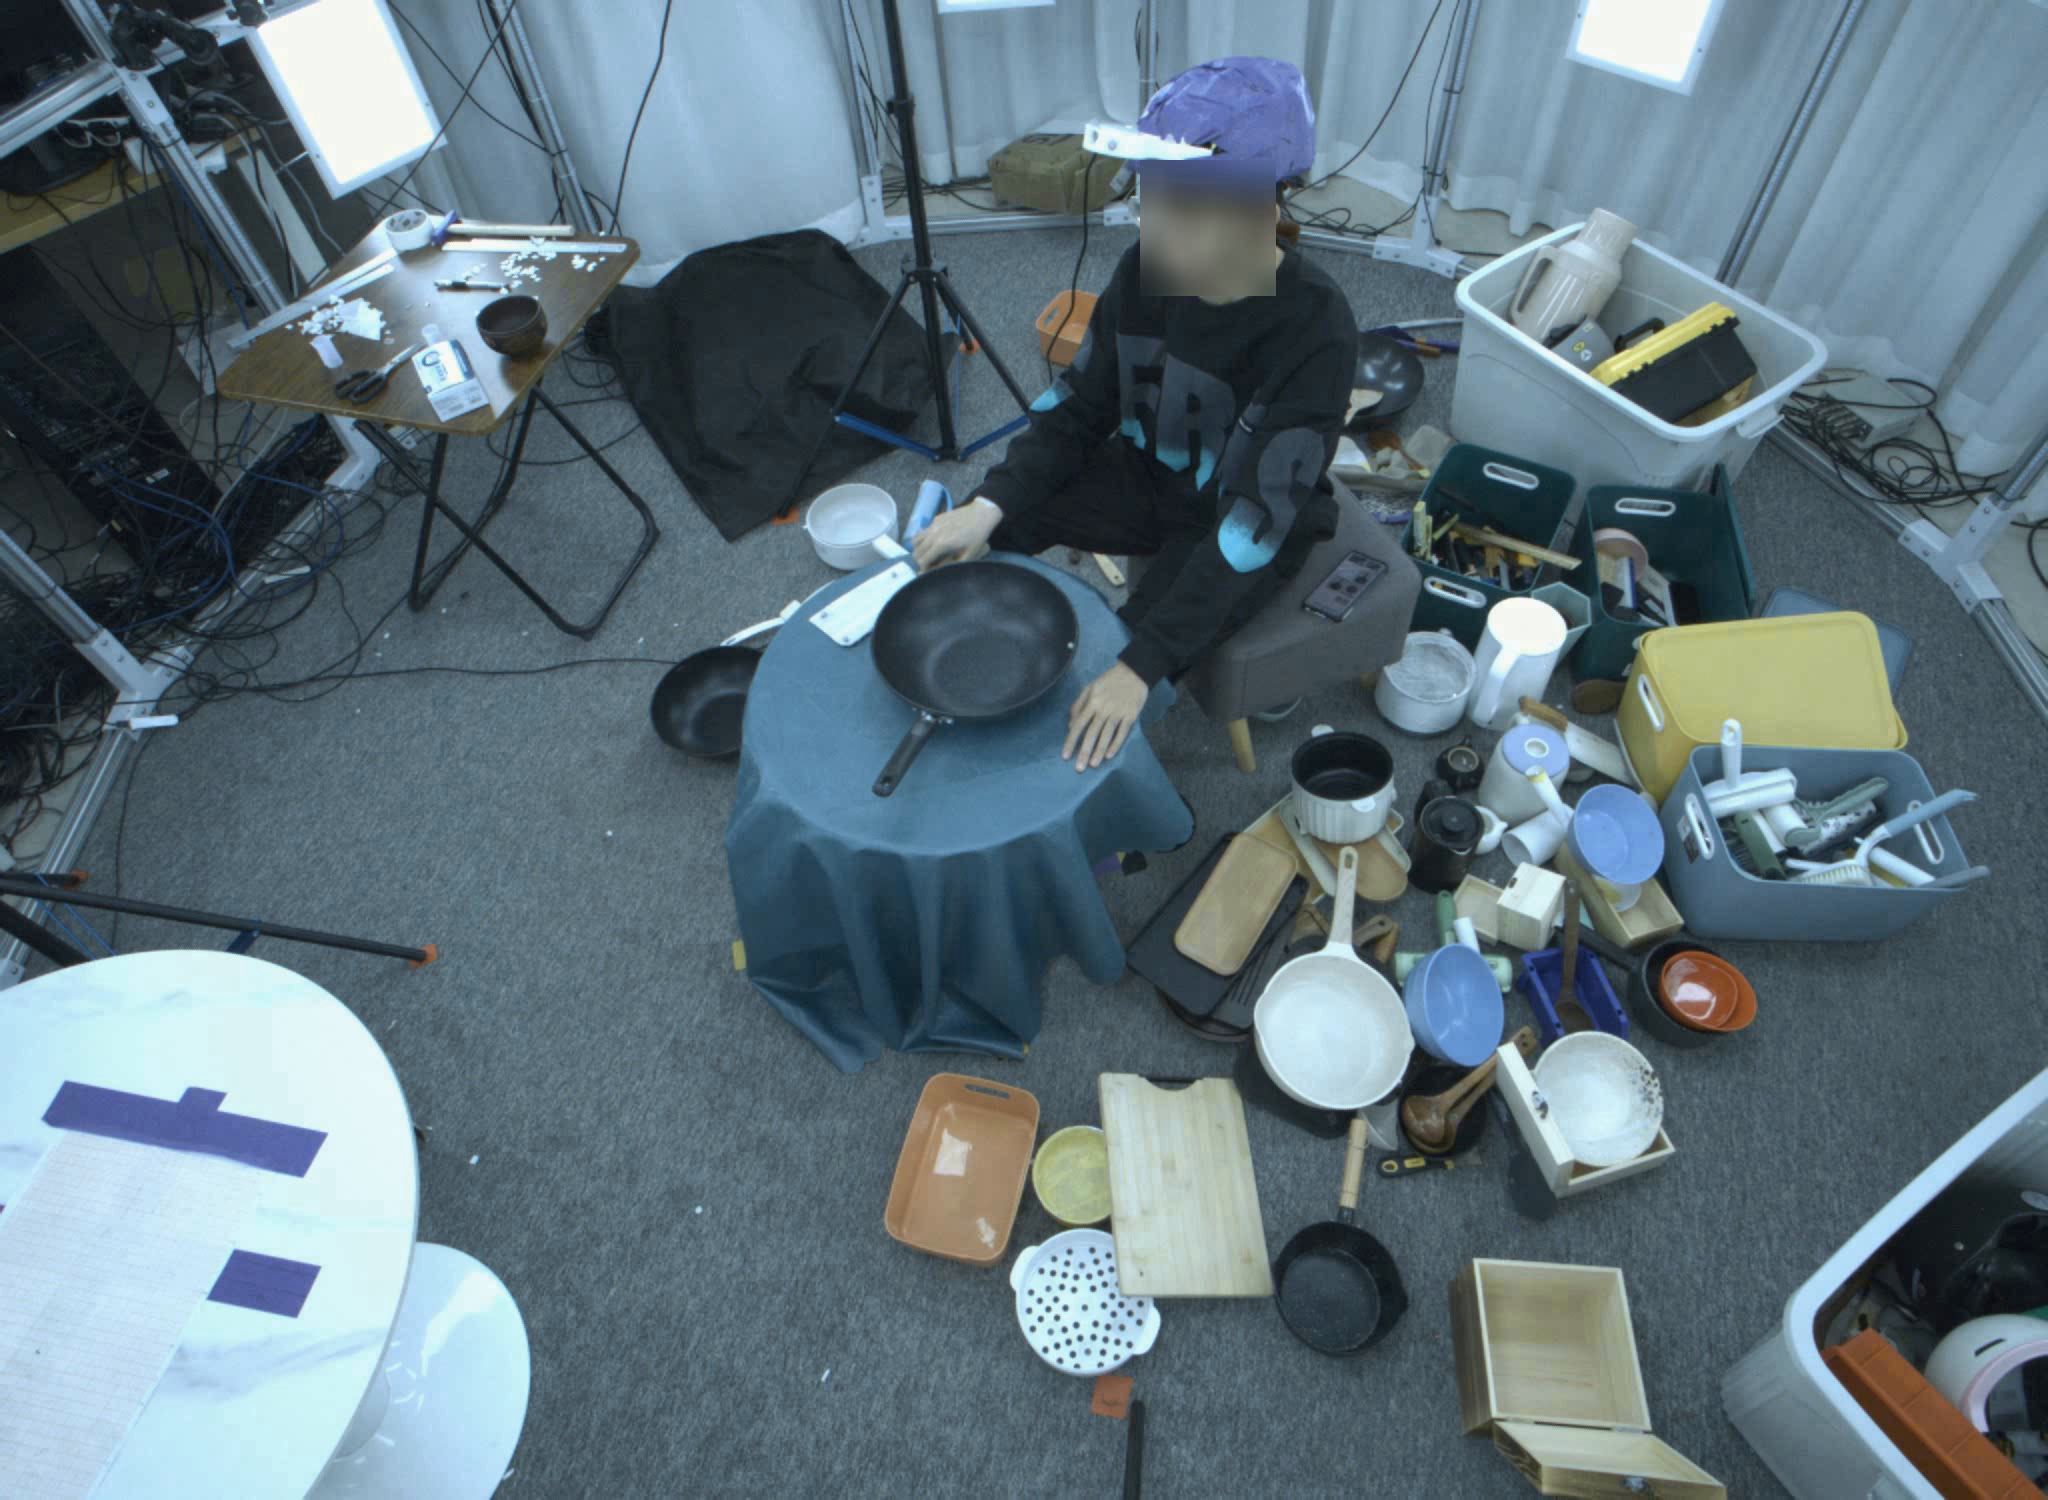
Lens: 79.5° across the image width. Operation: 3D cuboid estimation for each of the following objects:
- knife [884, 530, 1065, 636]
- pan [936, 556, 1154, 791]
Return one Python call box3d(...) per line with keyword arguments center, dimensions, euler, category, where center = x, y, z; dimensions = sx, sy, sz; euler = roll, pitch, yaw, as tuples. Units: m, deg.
box3d(center=(-0.072, -0.274, 1.972), dimensions=(0.317, 0.022, 0.111), euler=(-29, 54, -15), category="knife")
box3d(center=(0.002, -0.097, 1.791), dimensions=(0.306, 0.113, 0.477), euler=(19, 57, 17), category="pan")
